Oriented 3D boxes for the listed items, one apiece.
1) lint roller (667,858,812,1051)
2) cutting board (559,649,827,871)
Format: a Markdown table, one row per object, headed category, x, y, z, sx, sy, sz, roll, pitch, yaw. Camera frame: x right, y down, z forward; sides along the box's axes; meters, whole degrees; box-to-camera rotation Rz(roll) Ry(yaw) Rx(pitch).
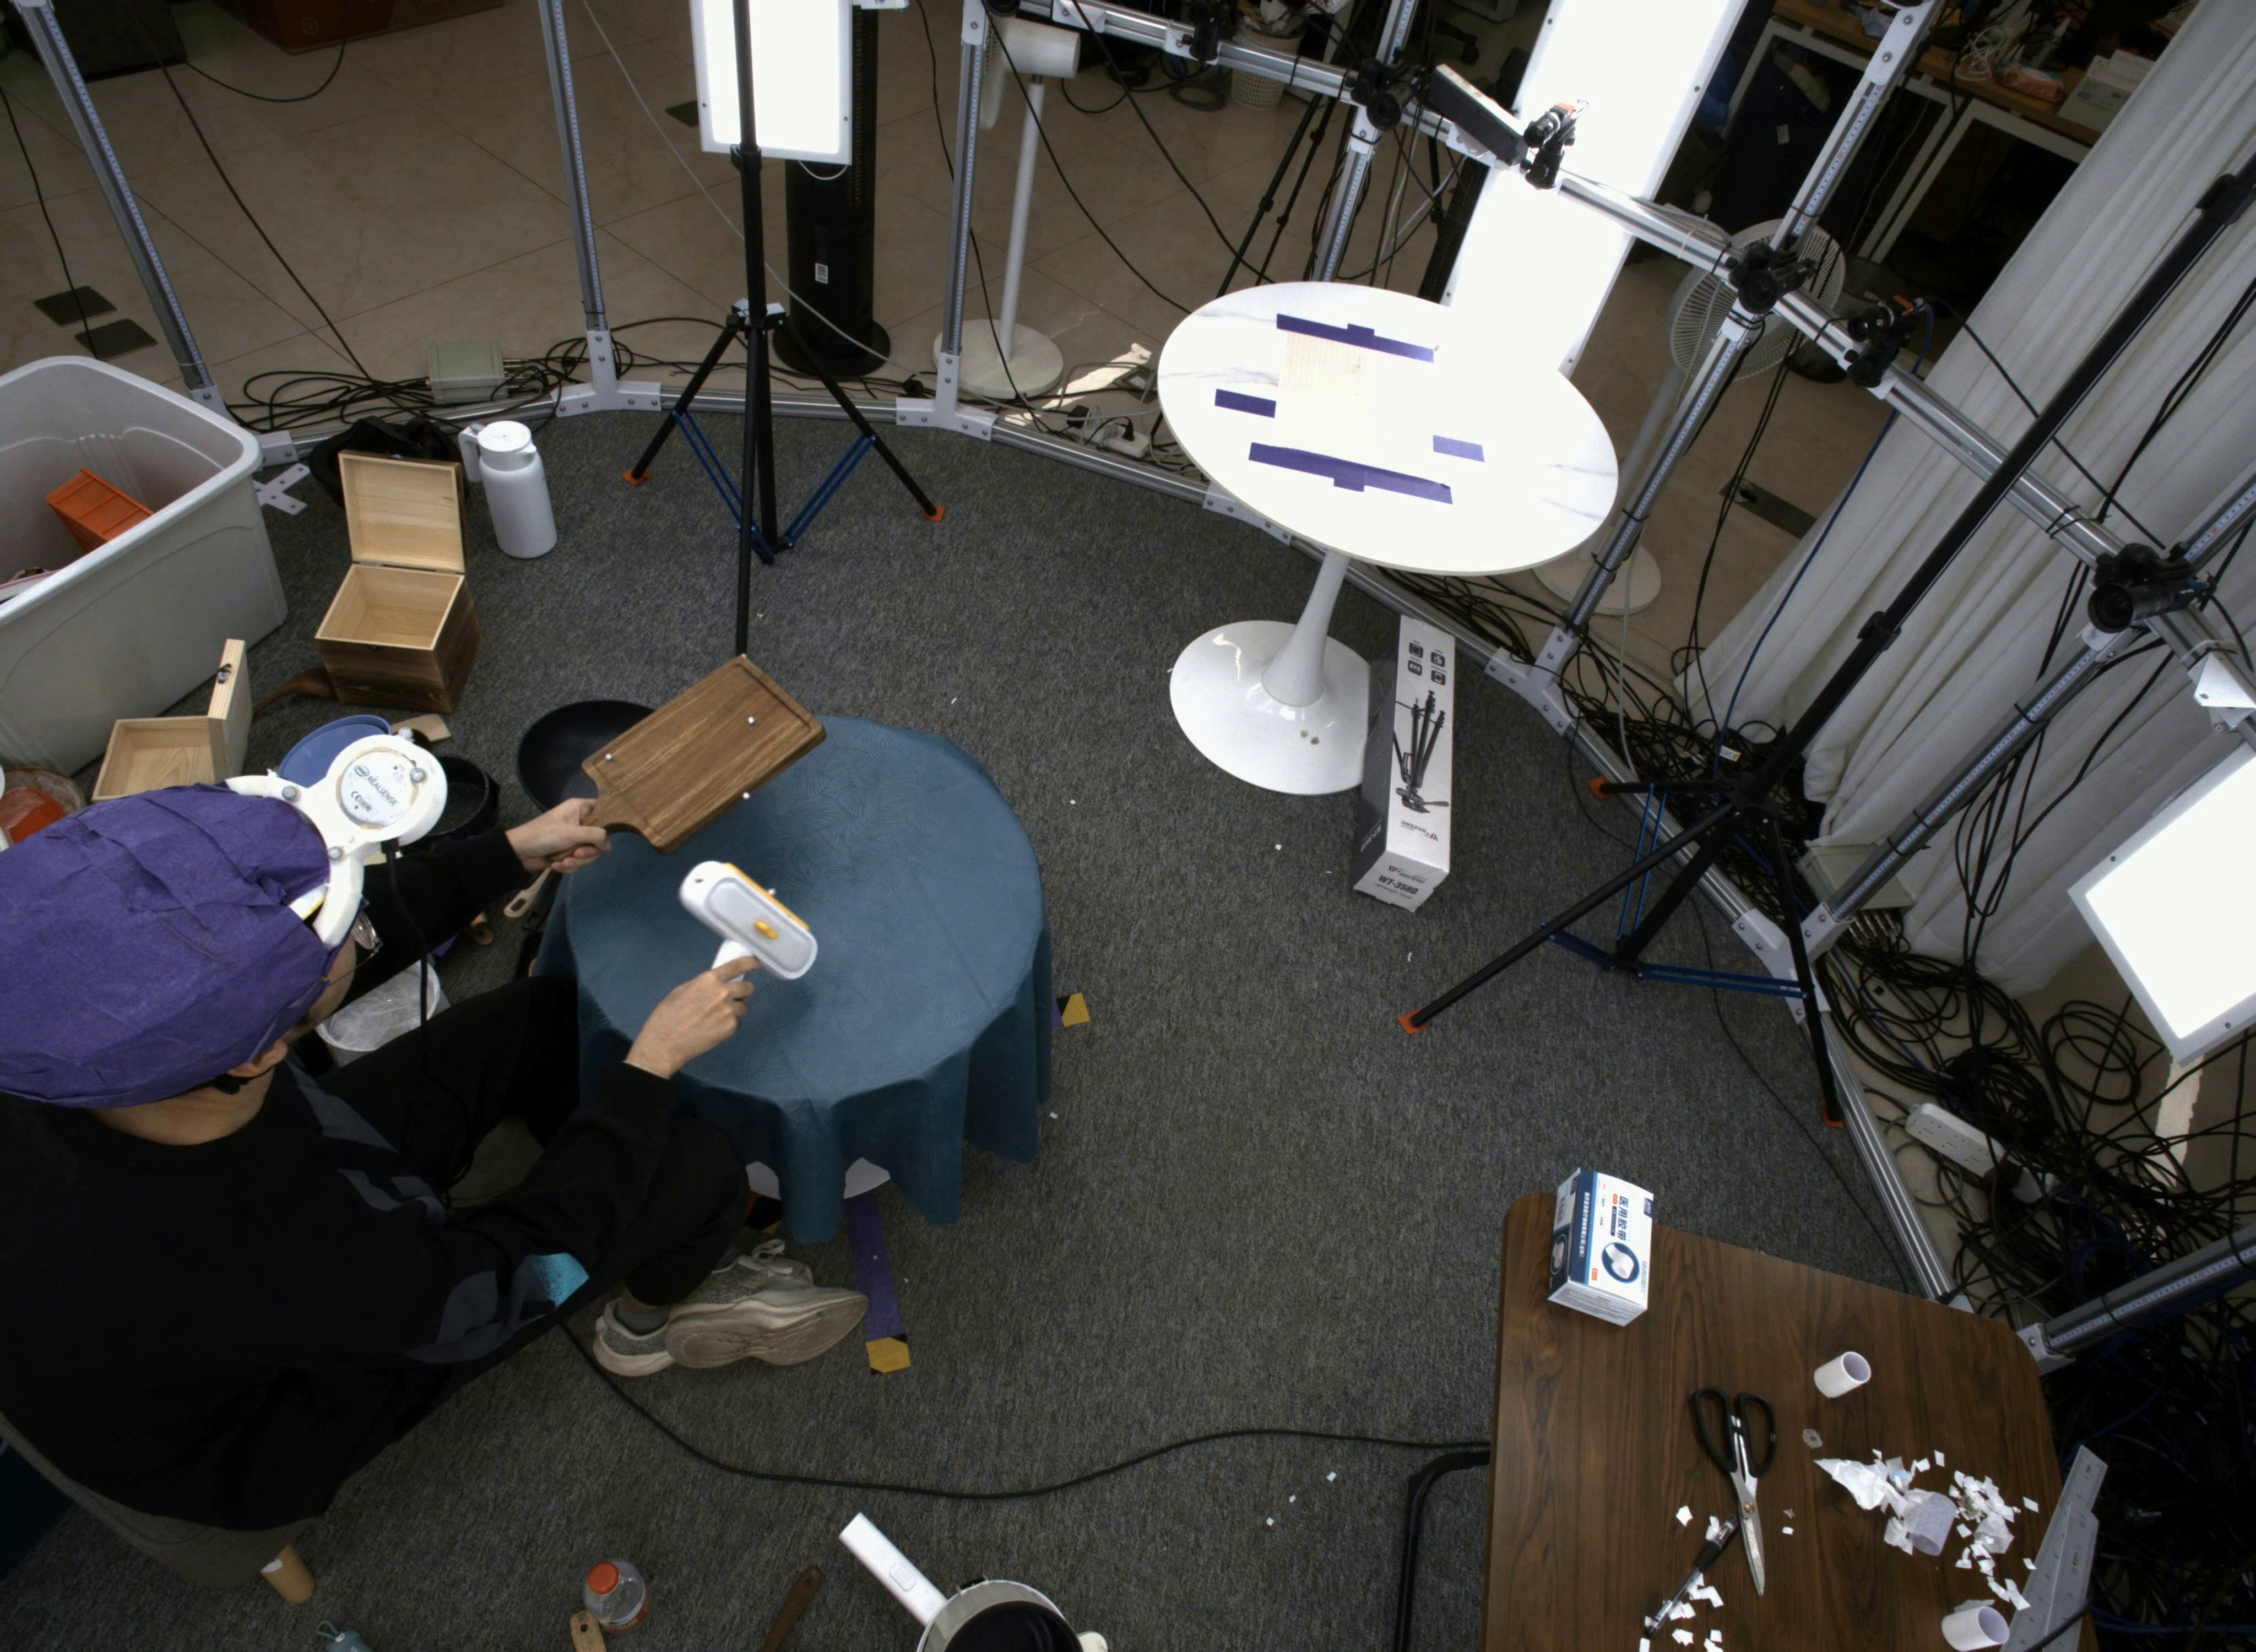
| category | x | y | z | sx | sy | sz | roll | pitch | yaw |
| --- | --- | --- | --- | --- | --- | --- | --- | --- | --- |
| lint roller | -0.458 | 0.158 | 1.465 | 0.071 | 0.200 | 0.192 | 6 | 64 | 35 |
| cutting board | -0.558 | -0.069 | 1.570 | 0.194 | 0.024 | 0.352 | 37 | 67 | 27 |
